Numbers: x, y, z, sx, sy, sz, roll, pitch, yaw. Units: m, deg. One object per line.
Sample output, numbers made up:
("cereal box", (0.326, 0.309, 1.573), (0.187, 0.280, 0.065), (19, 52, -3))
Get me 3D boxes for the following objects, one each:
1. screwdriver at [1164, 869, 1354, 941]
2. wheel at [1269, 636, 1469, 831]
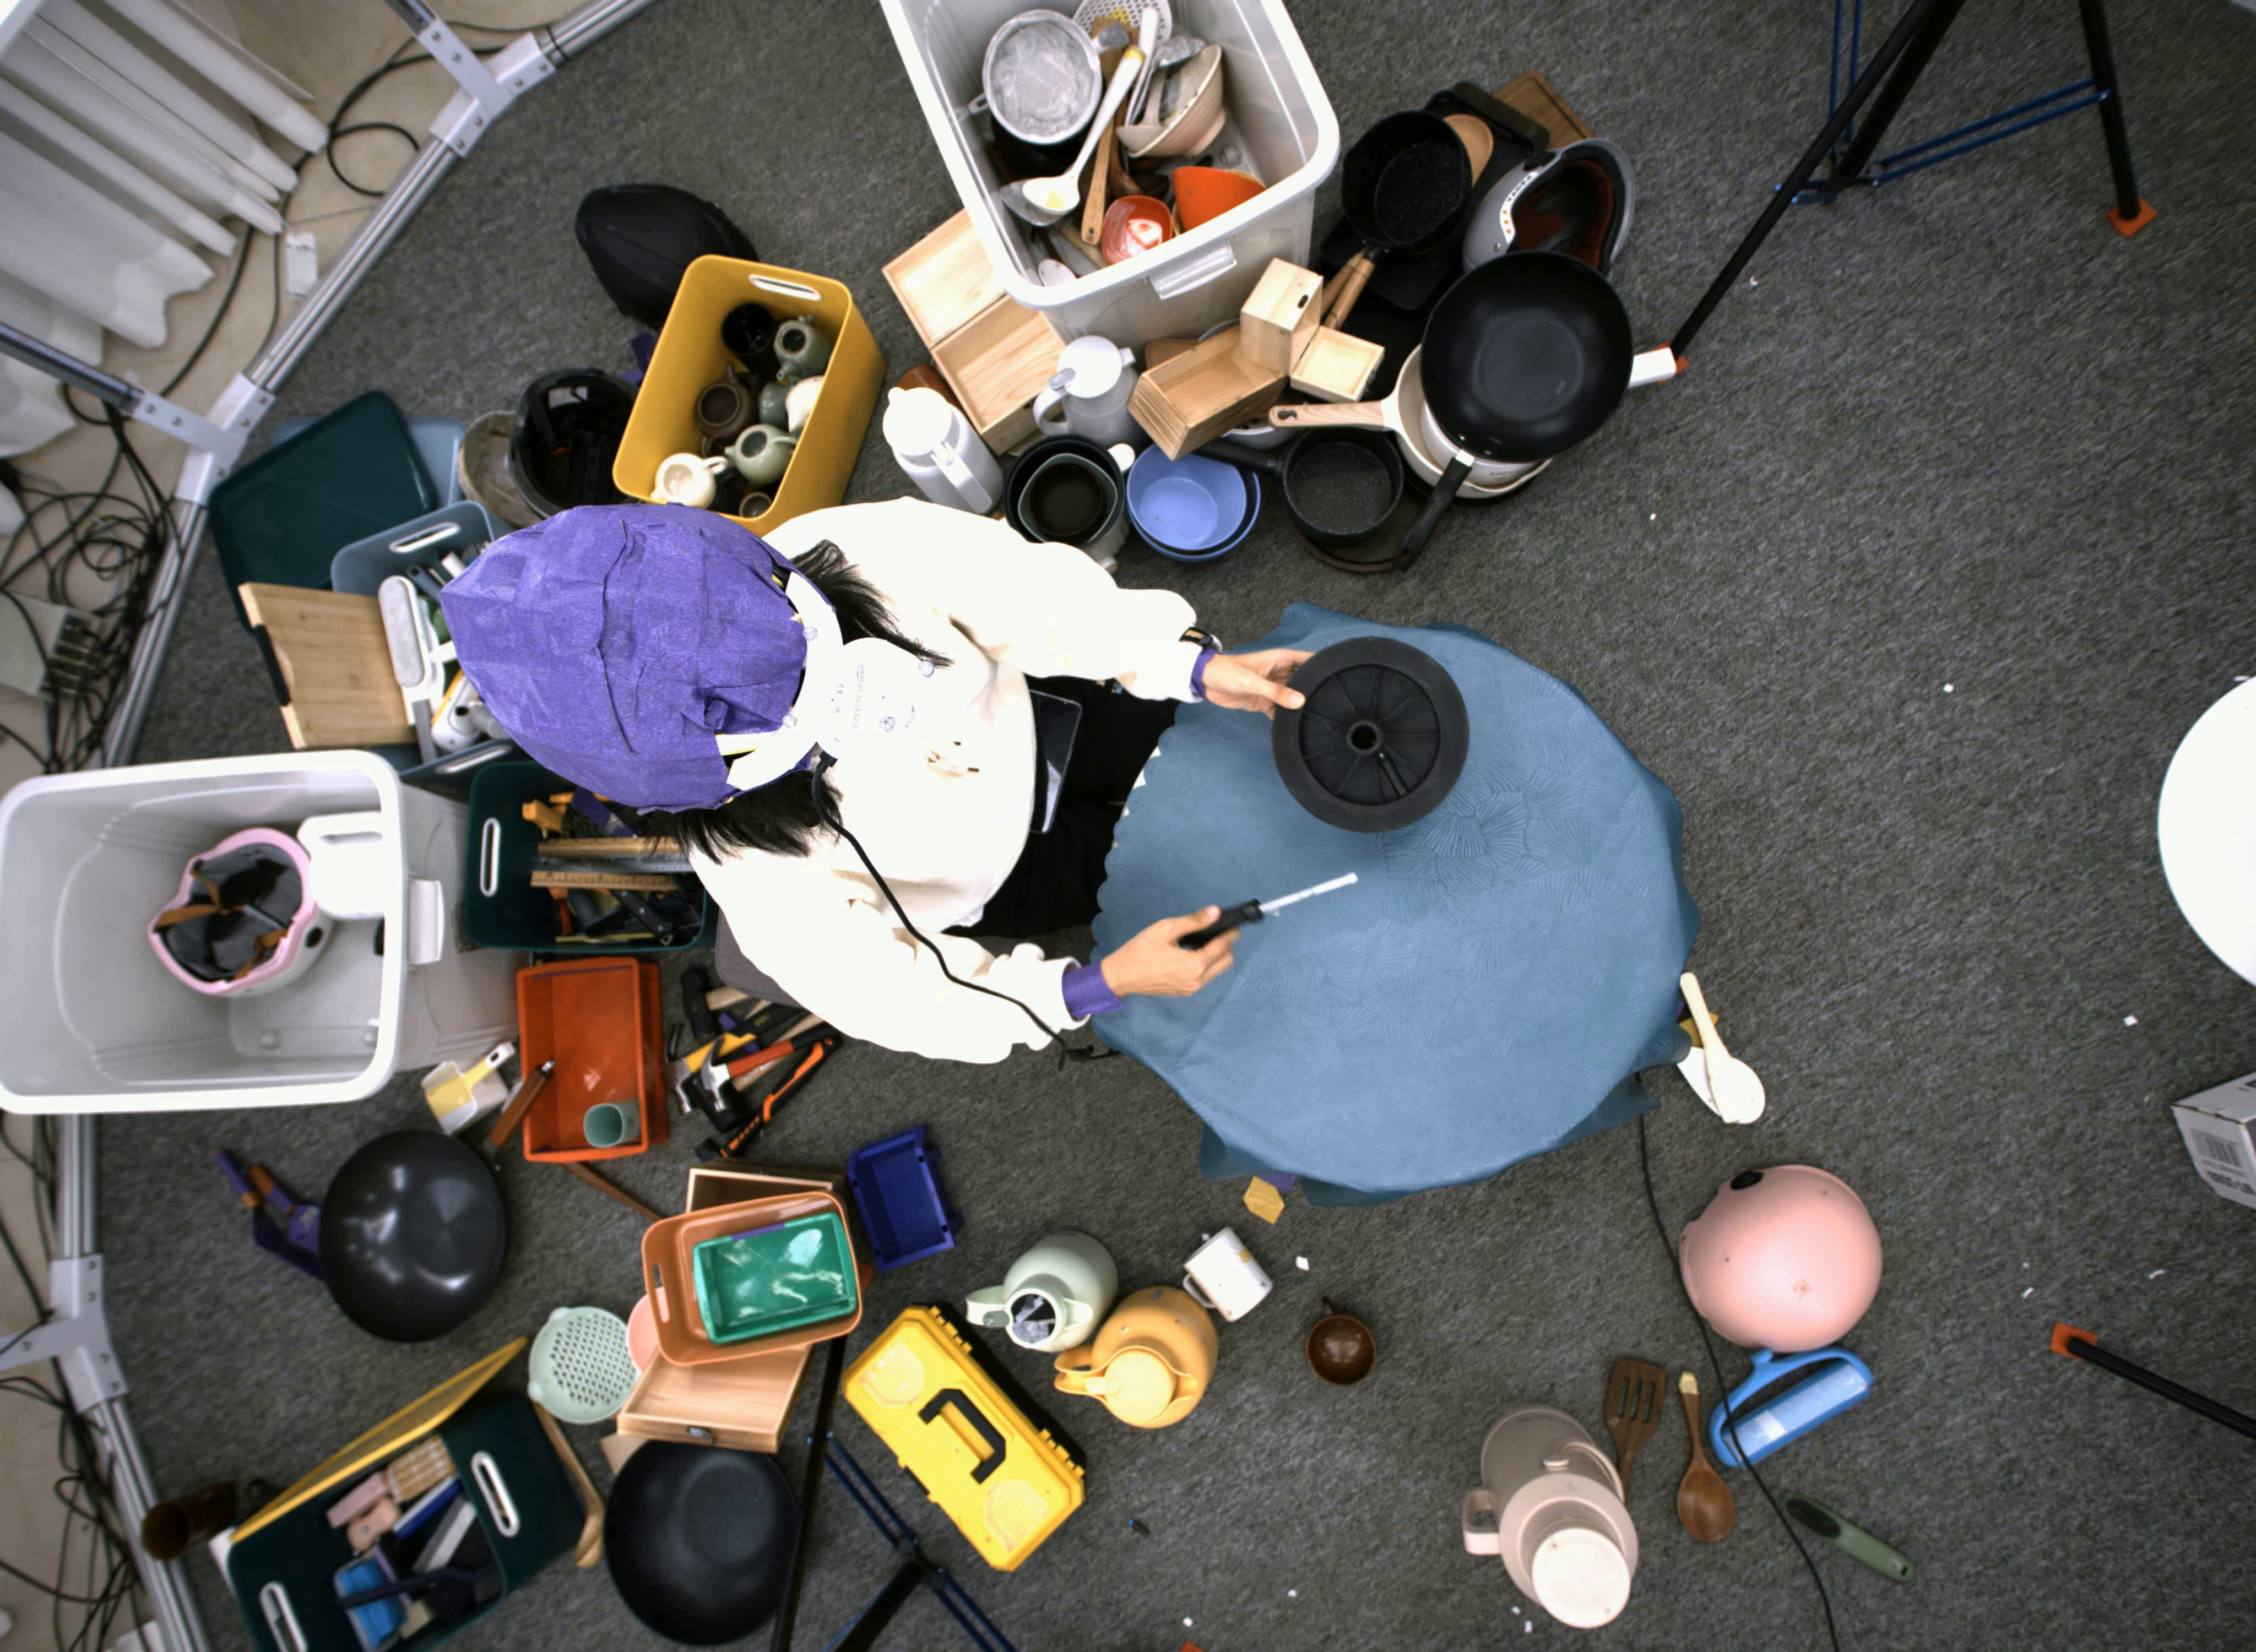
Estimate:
("screwdriver", (0.122, 0.072, 1.319), (0.199, 0.031, 0.031), (-20, 81, 25))
("wheel", (0.225, -0.086, 1.299), (0.189, 0.078, 0.190), (37, 106, 5))
